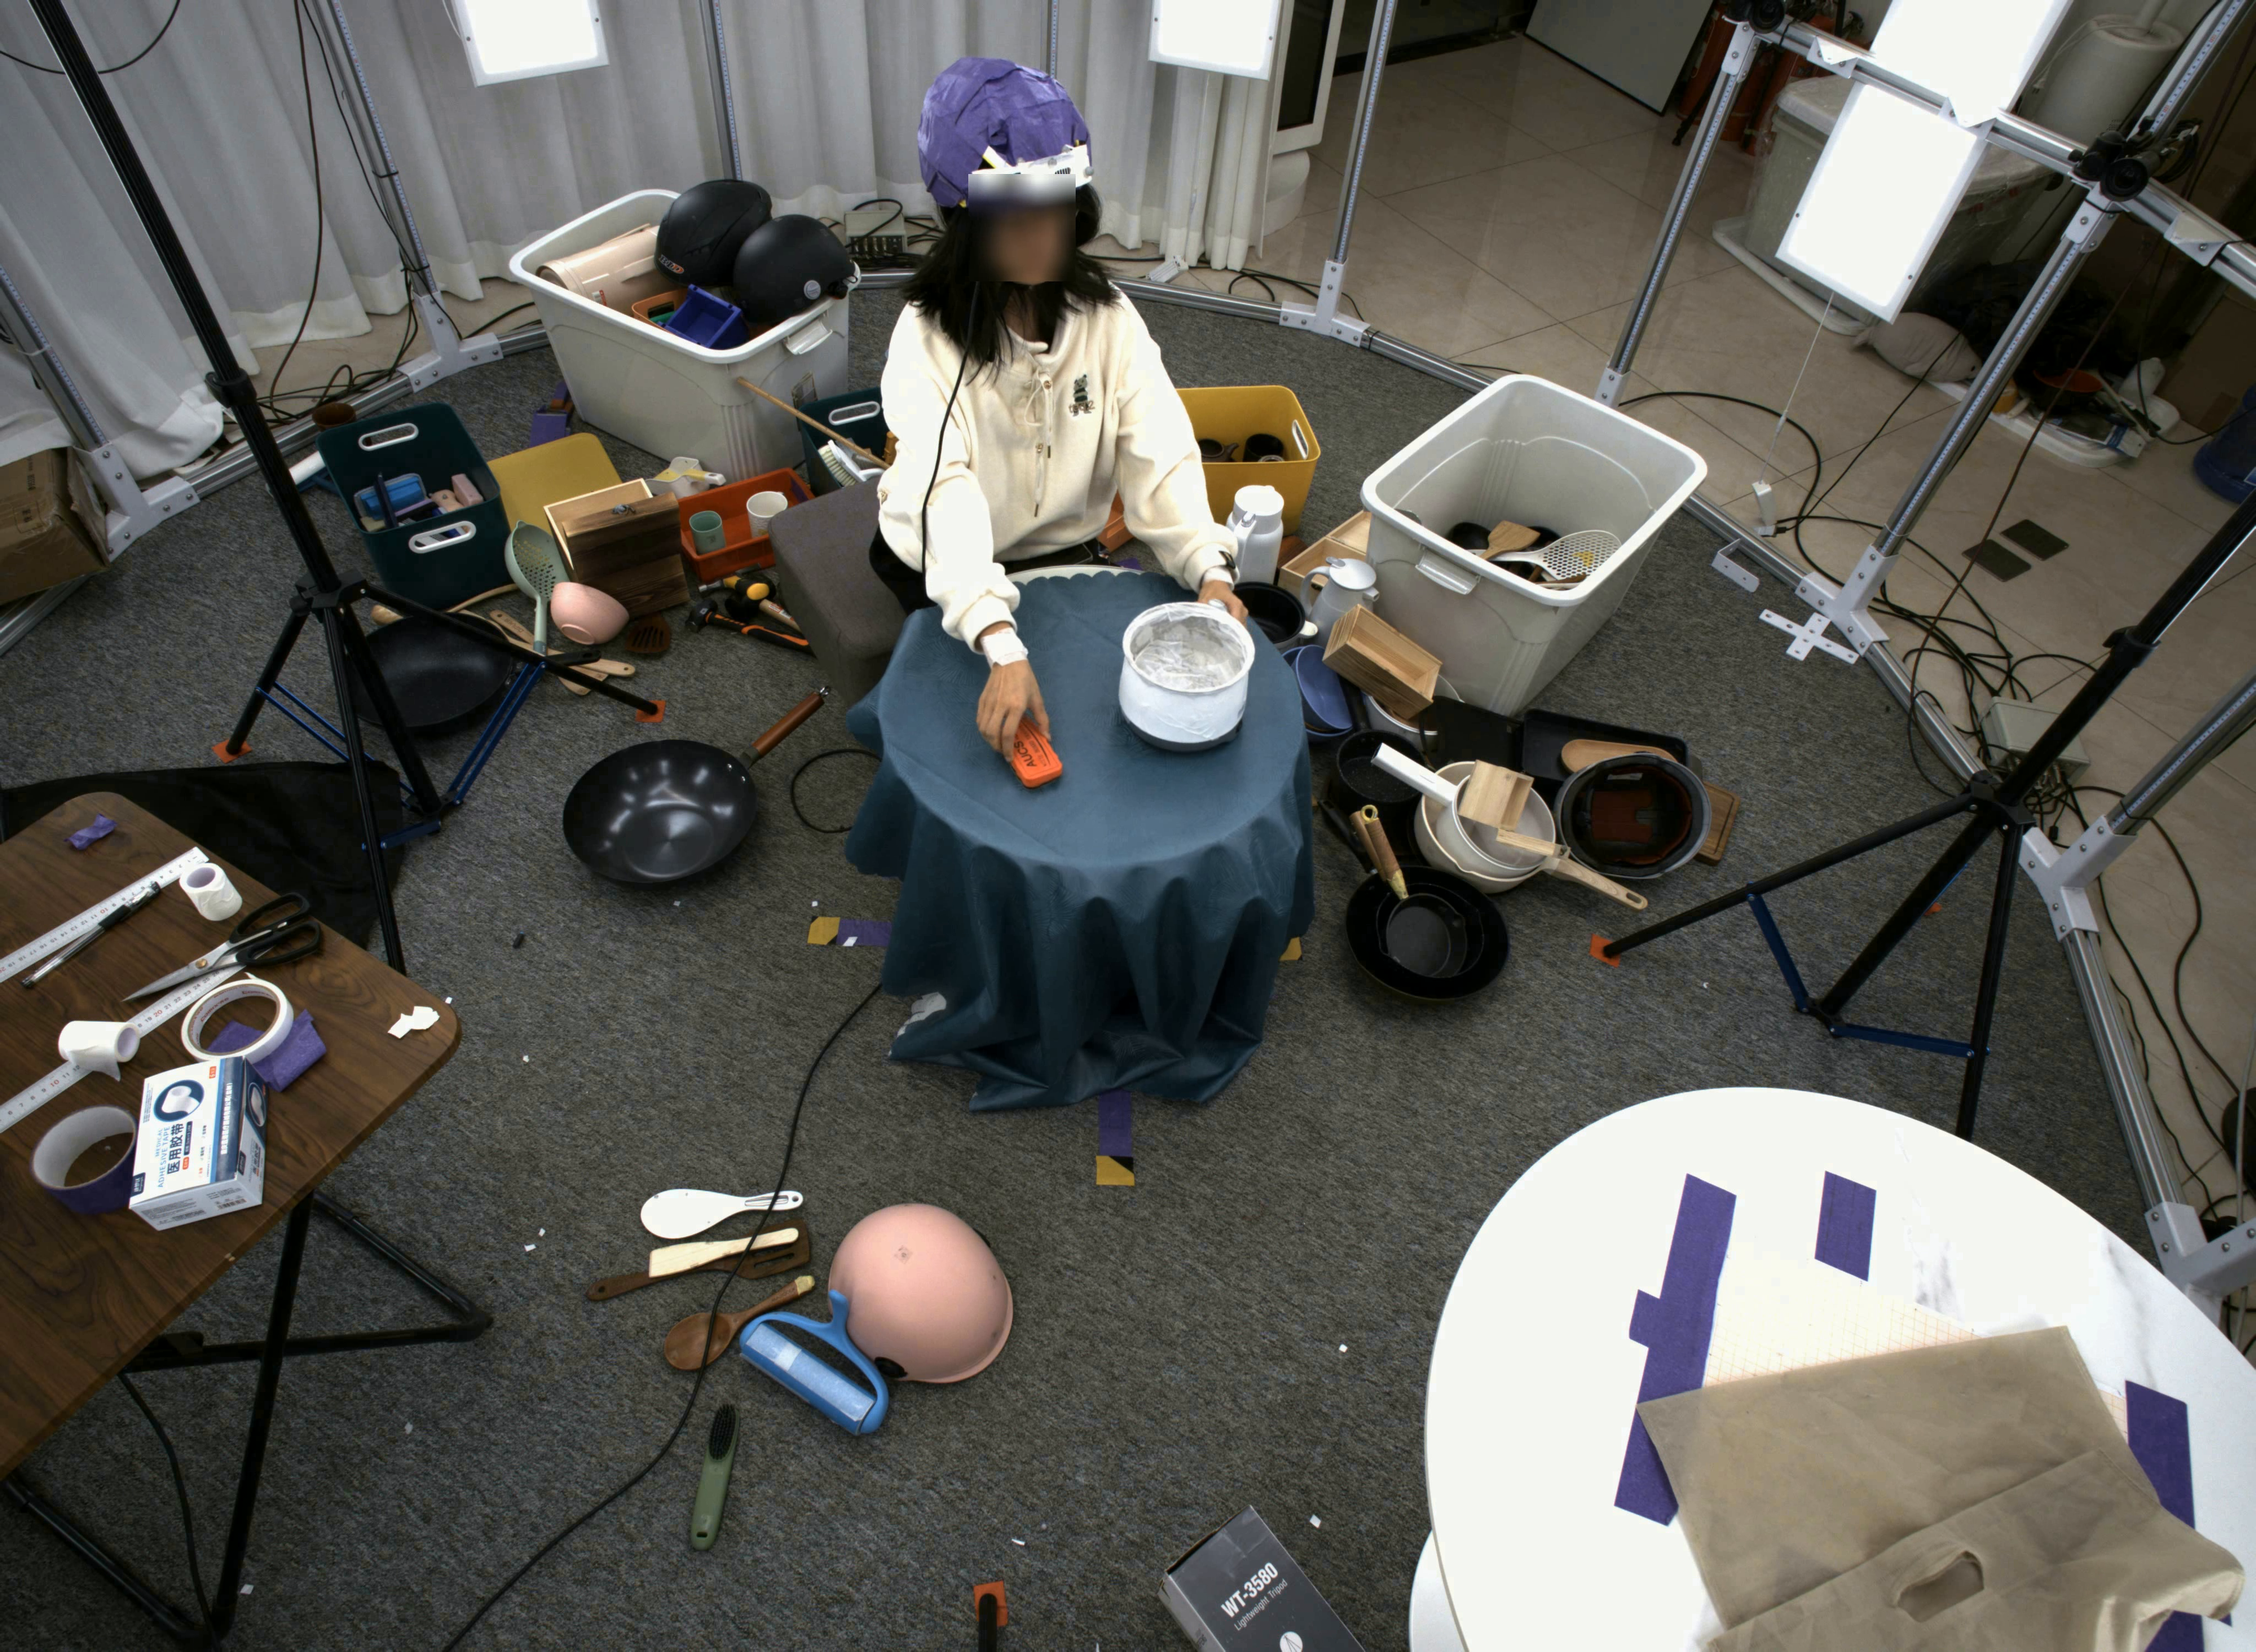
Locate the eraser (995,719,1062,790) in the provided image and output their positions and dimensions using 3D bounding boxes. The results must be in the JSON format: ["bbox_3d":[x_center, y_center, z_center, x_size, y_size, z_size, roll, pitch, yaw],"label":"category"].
[{"bbox_3d":[-0.135,-0.097,1.731,0.059,0.022,0.110,-15,51,-23],"label":"eraser"}]

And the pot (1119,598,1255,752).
[{"bbox_3d":[0.088,-0.220,1.775,0.179,0.133,0.238,21,52,11],"label":"pot"}]
